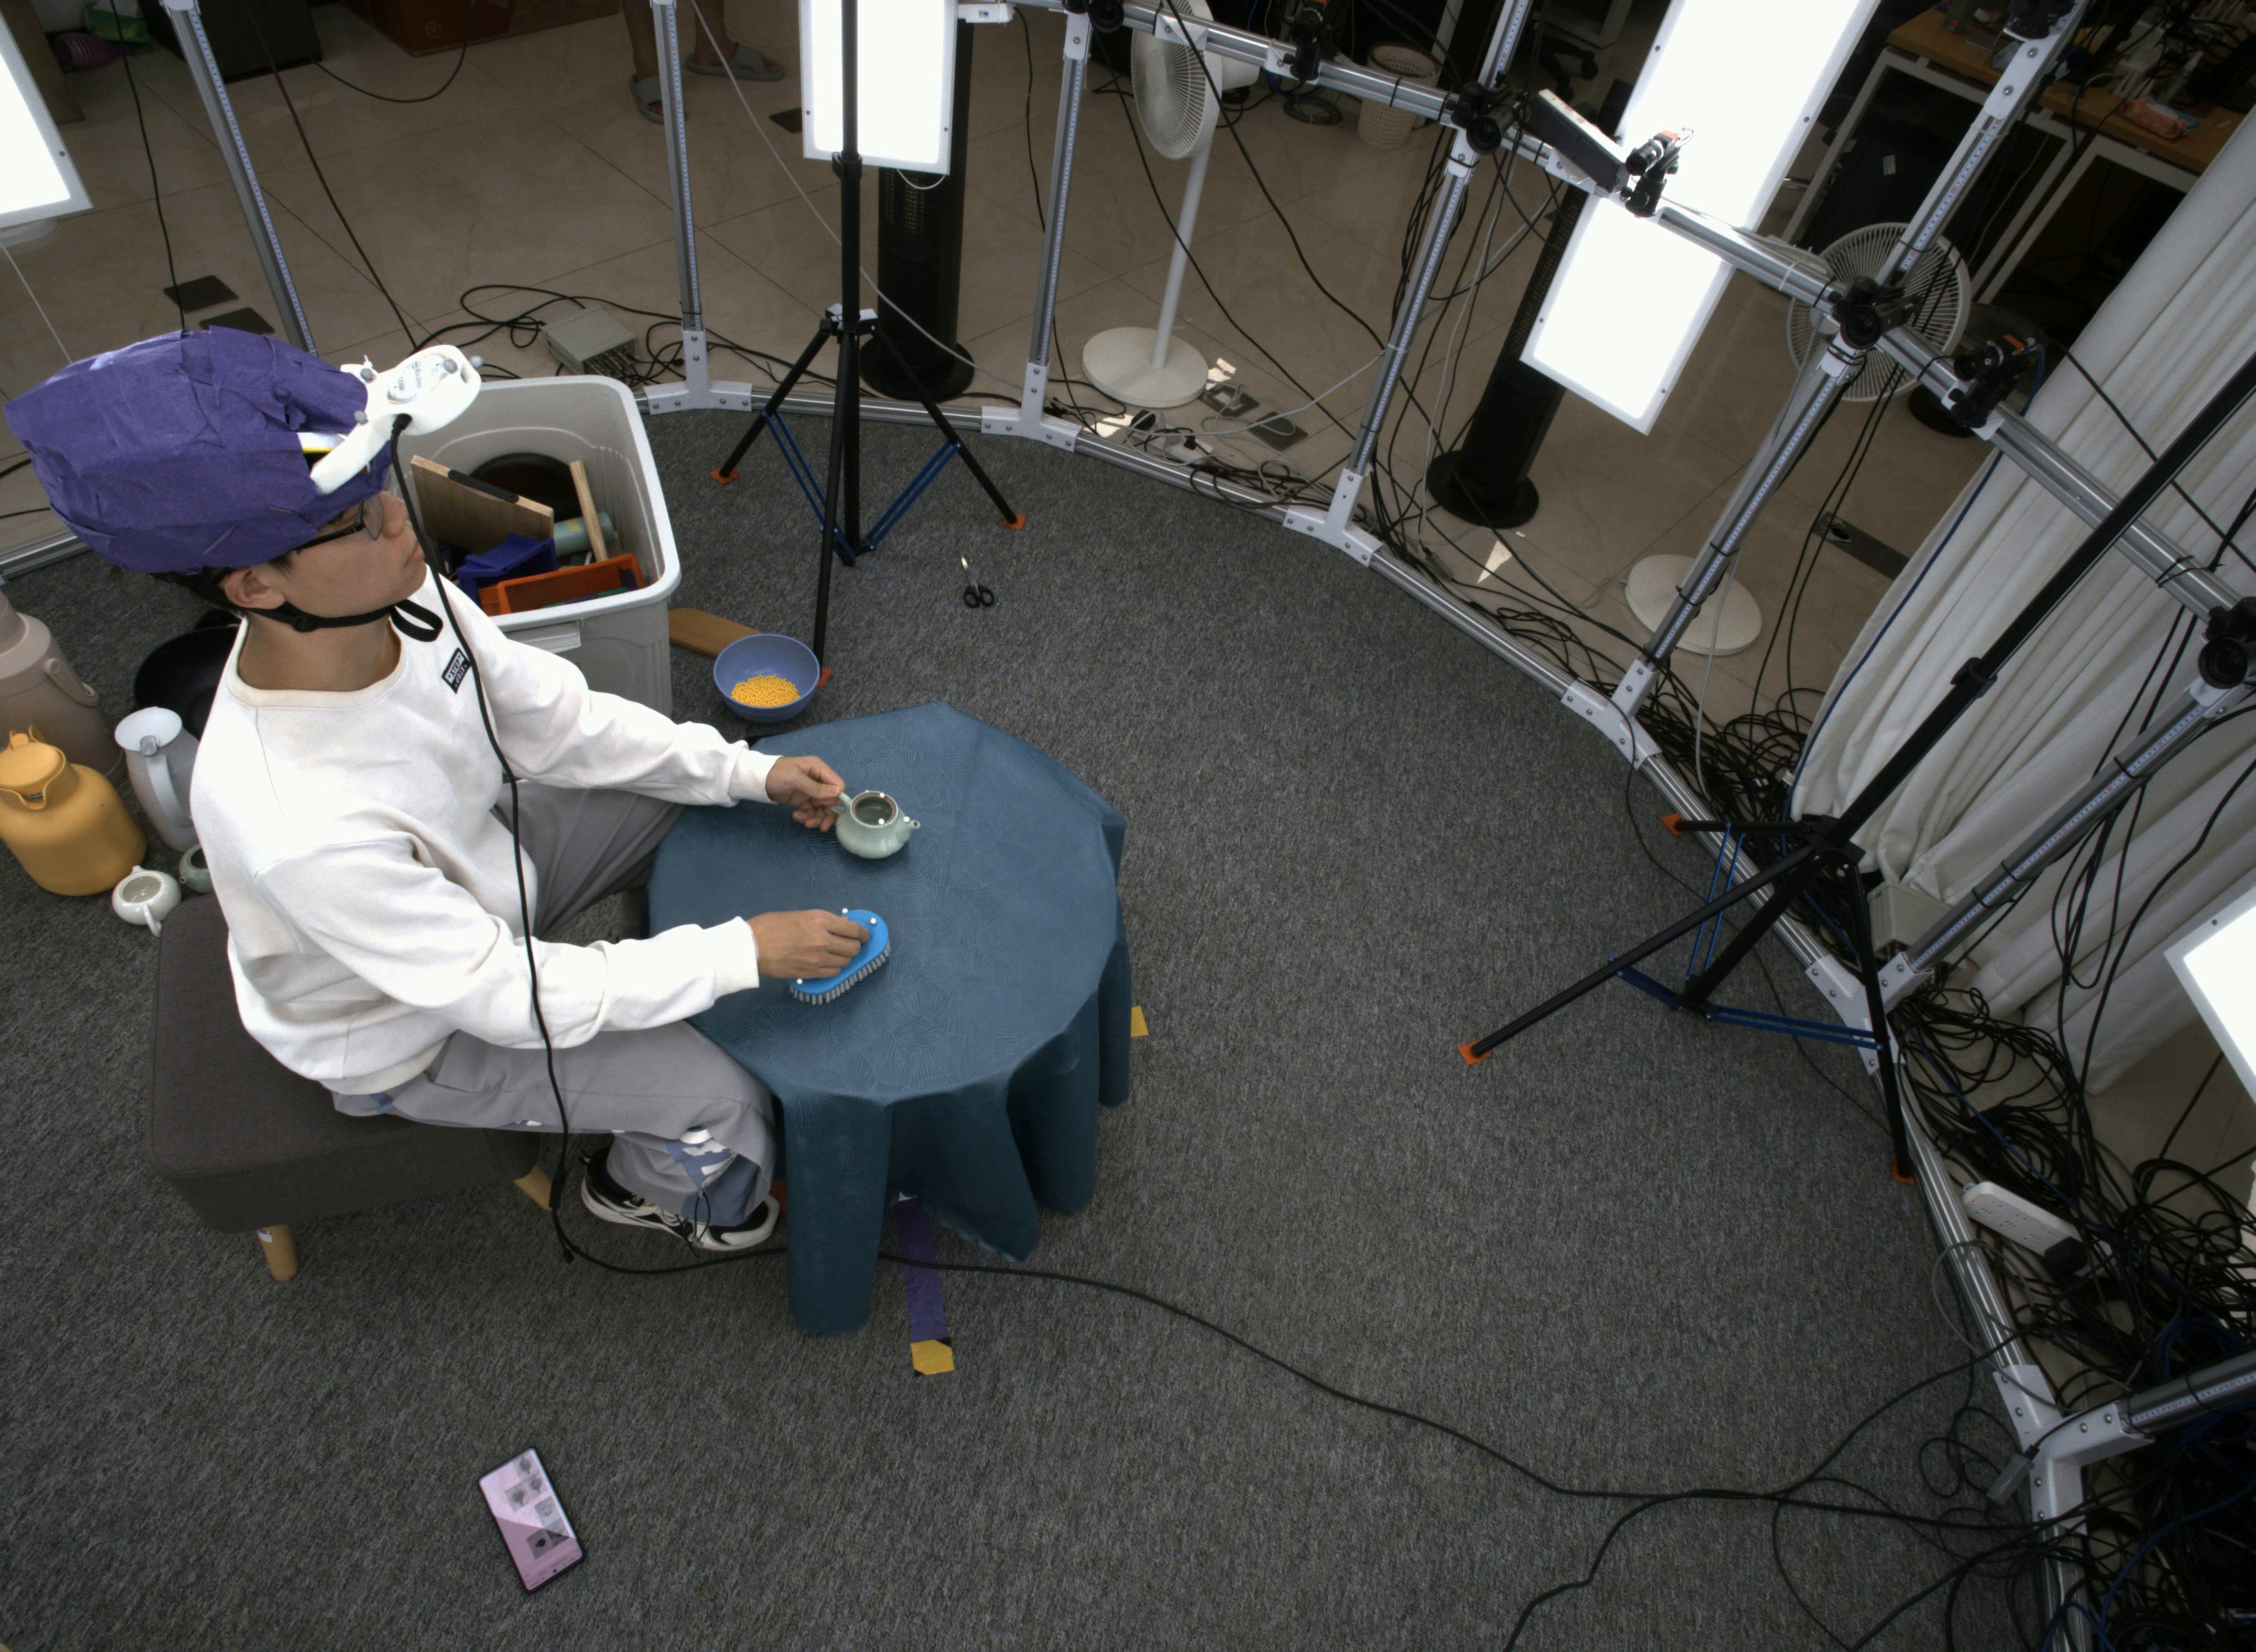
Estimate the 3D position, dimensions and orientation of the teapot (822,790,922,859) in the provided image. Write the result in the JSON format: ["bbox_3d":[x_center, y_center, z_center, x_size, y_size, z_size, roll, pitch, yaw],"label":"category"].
[{"bbox_3d":[-0.340,-0.009,1.715,0.136,0.062,0.095,20,50,-2],"label":"teapot"}]

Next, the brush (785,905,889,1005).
[{"bbox_3d":[-0.353,0.151,1.584,0.142,0.065,0.083,-39,76,-25],"label":"brush"}]
